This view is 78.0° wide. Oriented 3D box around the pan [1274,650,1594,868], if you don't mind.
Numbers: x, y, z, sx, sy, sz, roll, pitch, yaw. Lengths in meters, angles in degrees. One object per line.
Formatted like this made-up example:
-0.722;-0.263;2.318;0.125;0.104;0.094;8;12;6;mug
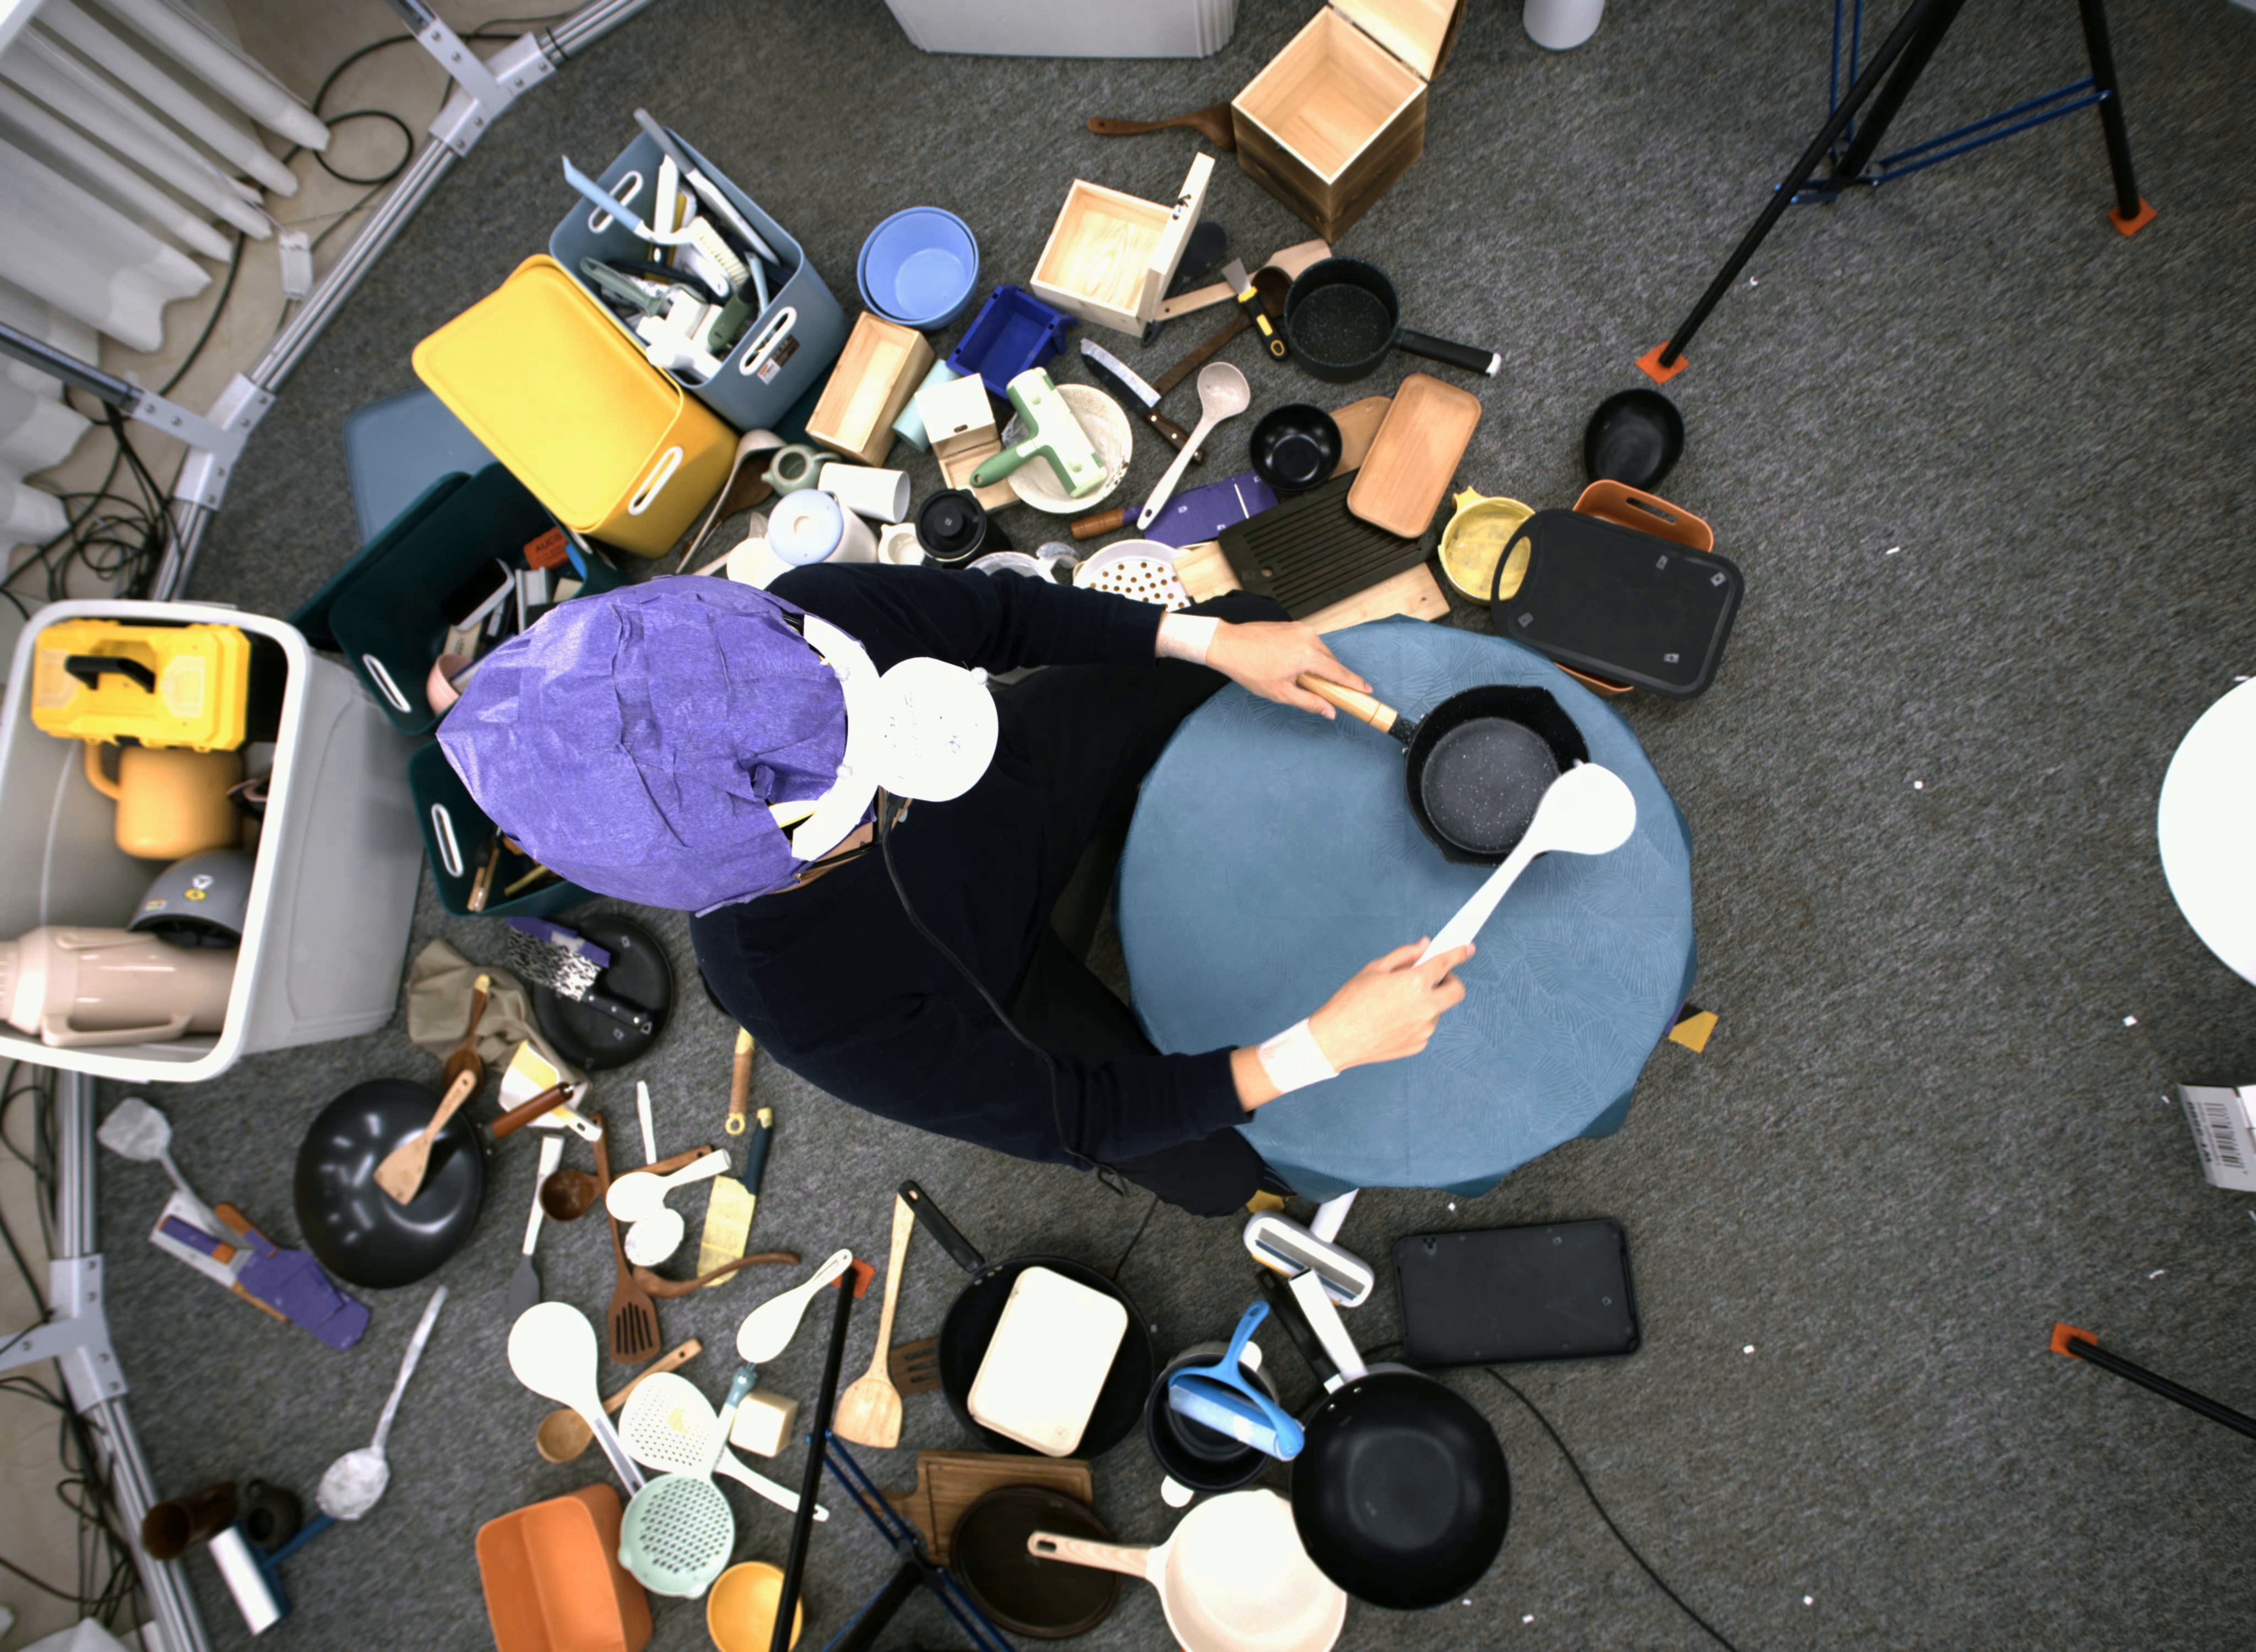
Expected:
0.304;-0.085;1.408;0.342;0.108;0.208;27;92;9;pan

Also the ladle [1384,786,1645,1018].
0.355;0.070;1.257;0.290;0.069;0.091;-42;119;-13;ladle
